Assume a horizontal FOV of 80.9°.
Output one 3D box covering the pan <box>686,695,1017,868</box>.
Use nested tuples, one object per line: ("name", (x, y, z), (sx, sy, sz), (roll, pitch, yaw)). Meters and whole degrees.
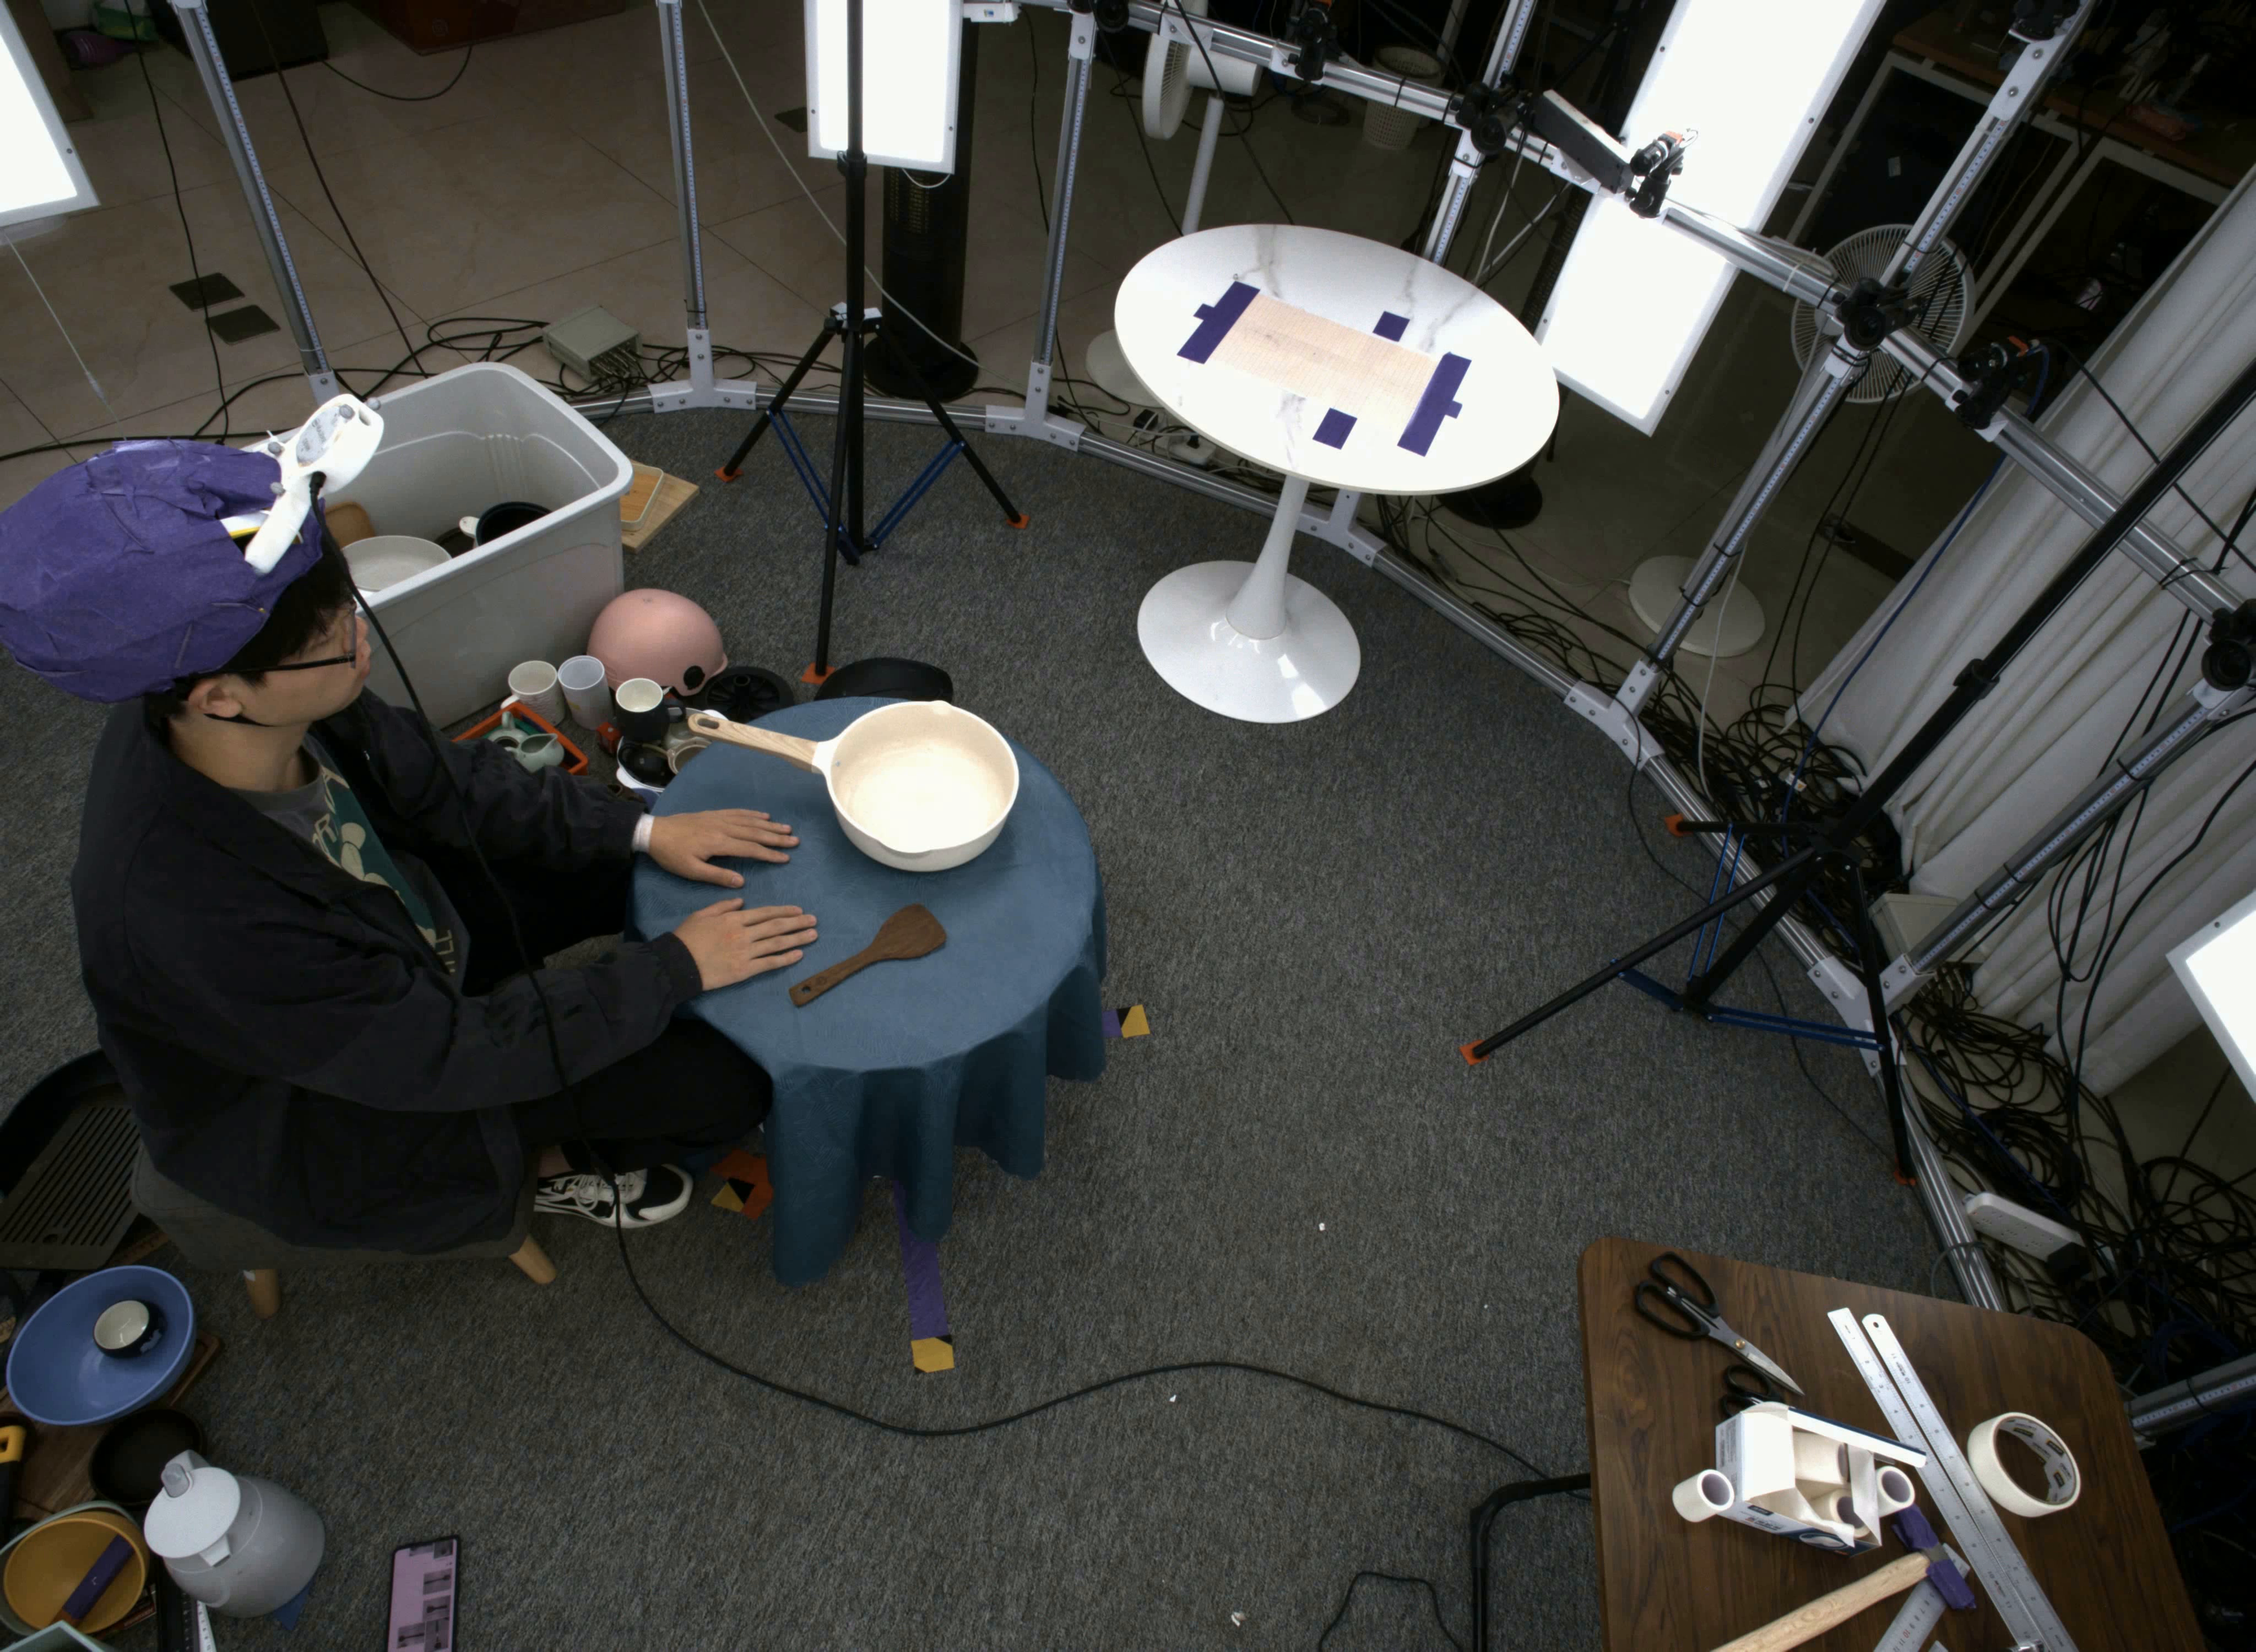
("pan", (-0.365, -0.071, 1.729), (0.433, 0.104, 0.259), (9, 54, -6))

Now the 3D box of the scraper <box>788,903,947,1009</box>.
("scraper", (-0.328, 0.165, 1.621), (0.212, 0.011, 0.074), (-30, 65, -29))
